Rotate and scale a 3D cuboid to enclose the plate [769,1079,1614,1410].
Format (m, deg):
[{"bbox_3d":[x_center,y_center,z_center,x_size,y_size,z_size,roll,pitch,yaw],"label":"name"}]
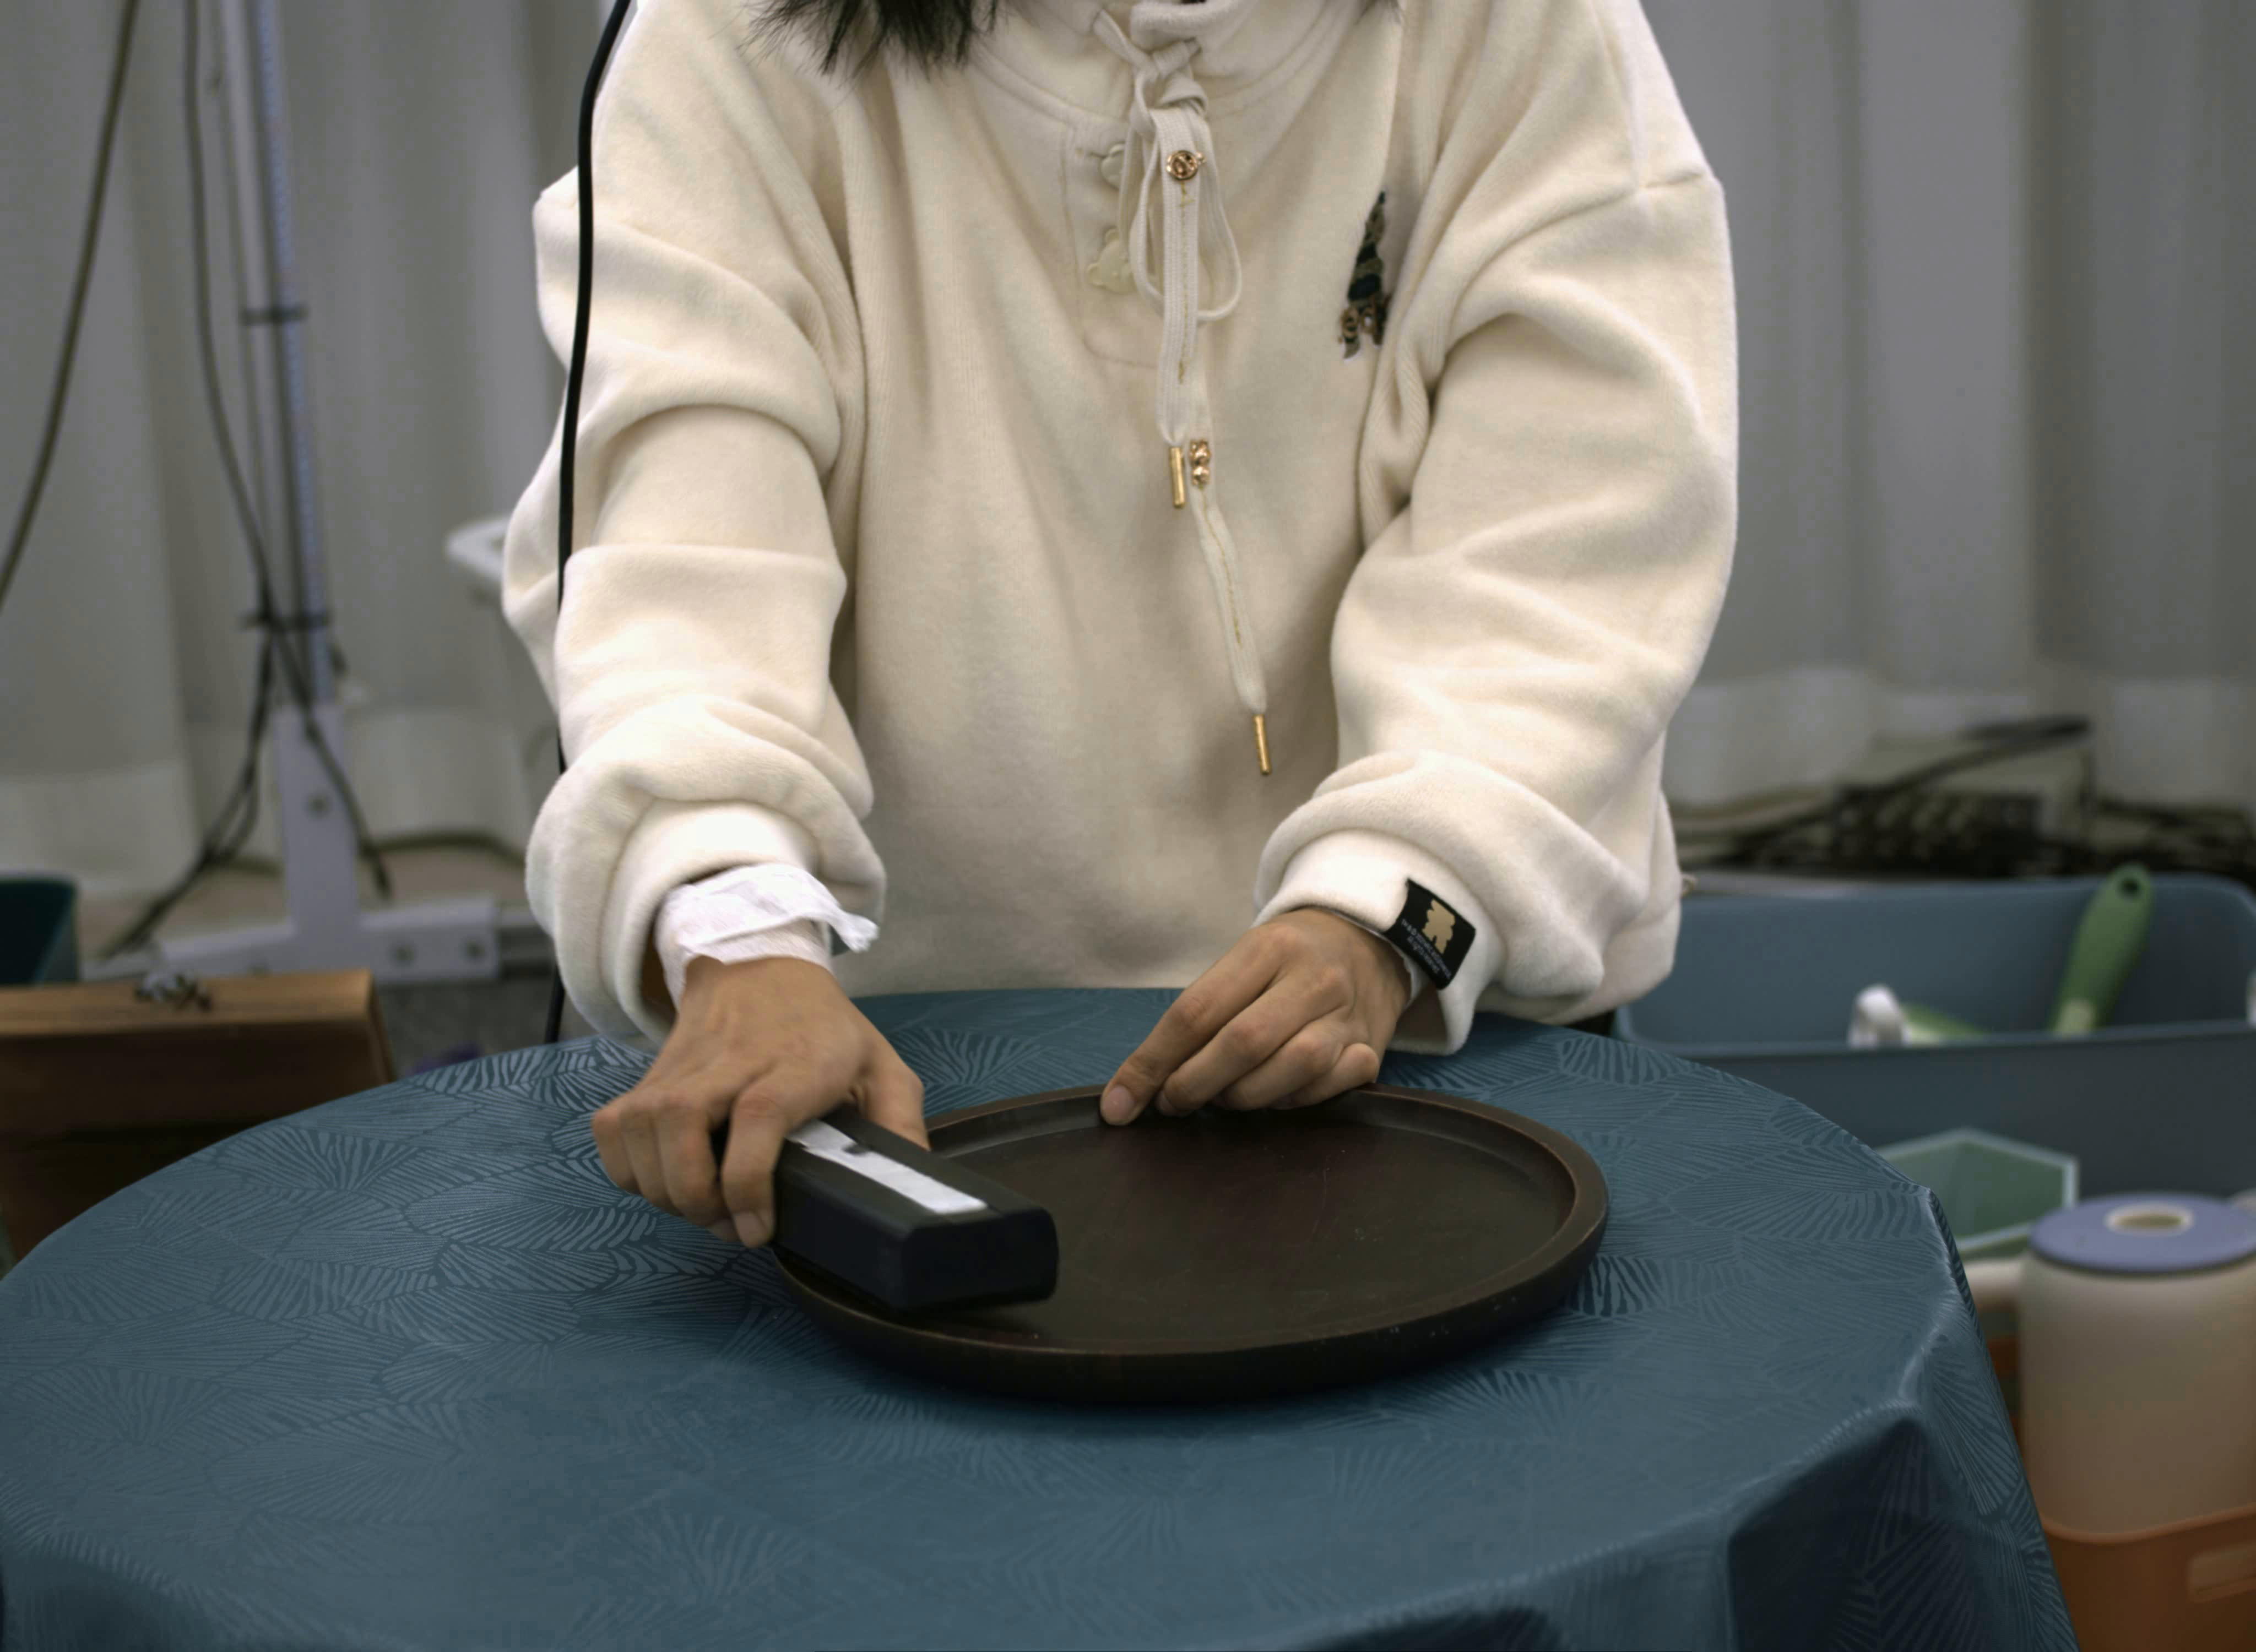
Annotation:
[{"bbox_3d":[0.019,0.122,1.636,0.254,0.029,0.256,-3,16,1],"label":"plate"}]

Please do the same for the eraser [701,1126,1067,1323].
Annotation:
[{"bbox_3d":[-0.072,0.116,1.598,0.053,0.030,0.126,-2,11,-33],"label":"eraser"}]
